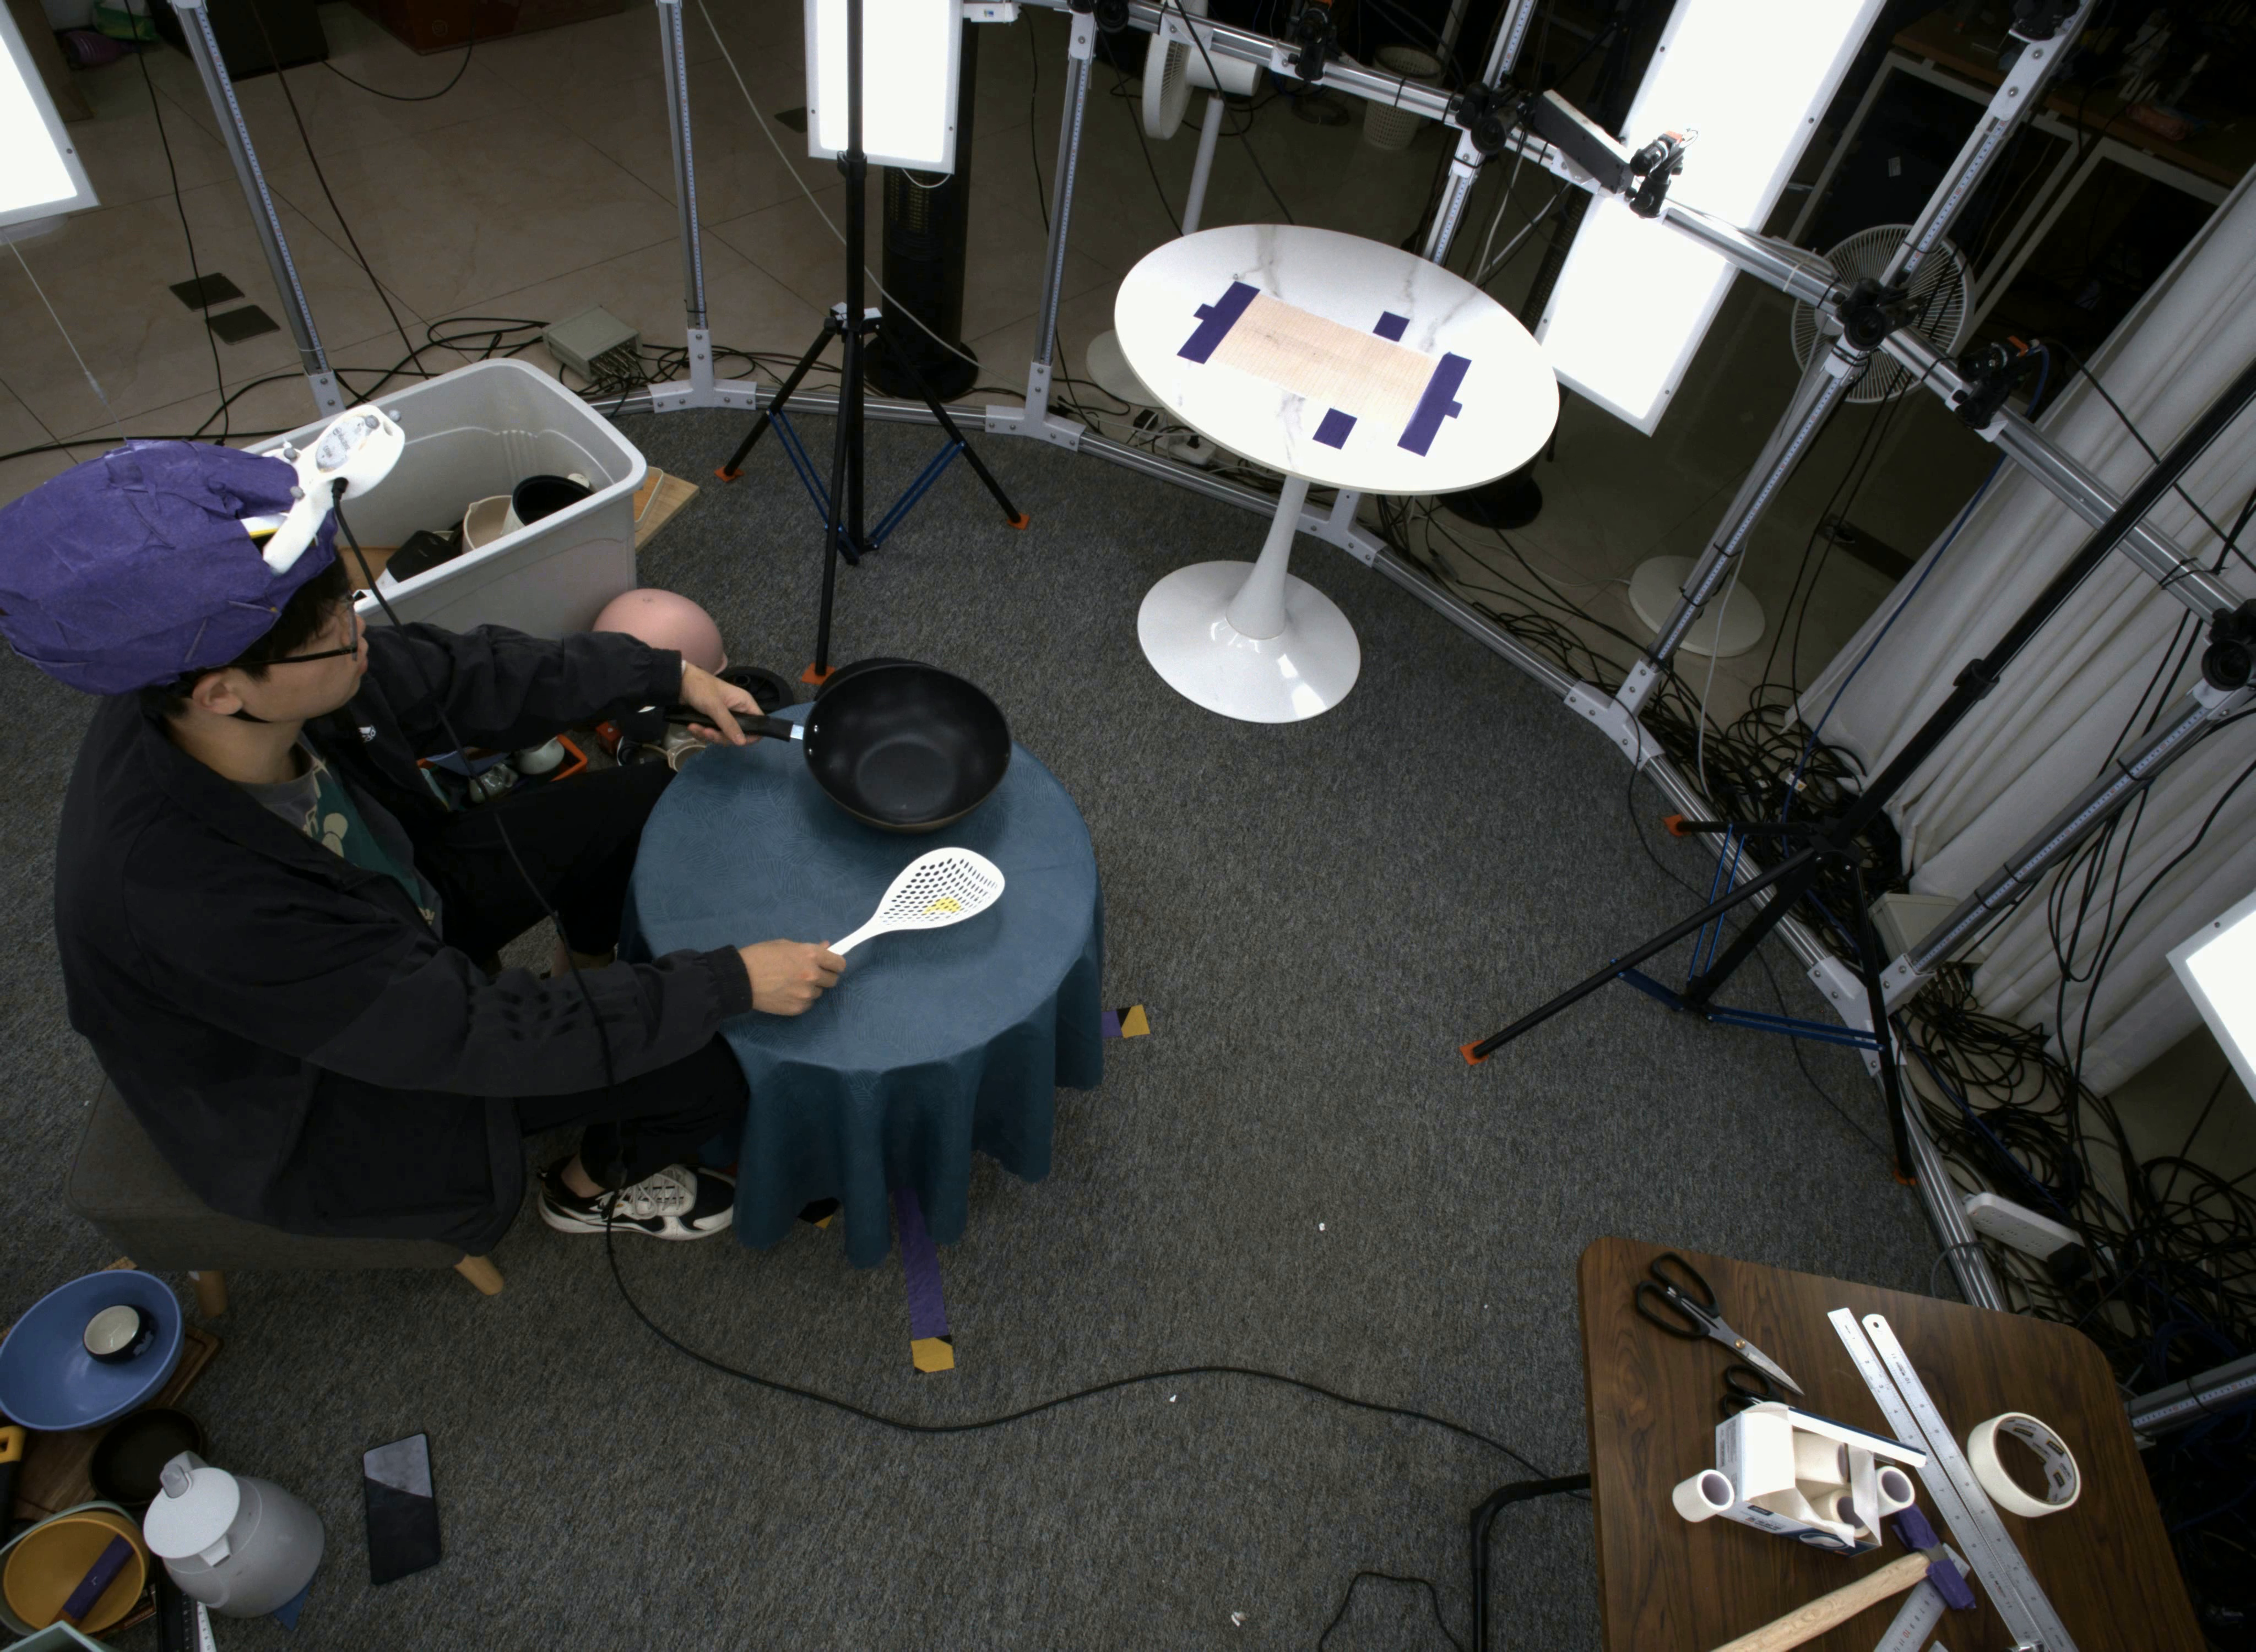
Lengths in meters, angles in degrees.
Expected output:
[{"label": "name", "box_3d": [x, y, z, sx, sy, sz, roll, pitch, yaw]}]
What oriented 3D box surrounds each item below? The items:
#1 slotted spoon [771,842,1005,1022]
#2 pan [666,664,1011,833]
[{"label": "slotted spoon", "box_3d": [-0.304, 0.129, 1.619, 0.132, 0.052, 0.349, 34, 48, 30]}, {"label": "pan", "box_3d": [-0.390, -0.102, 1.756, 0.461, 0.089, 0.283, 6, 52, -7]}]
